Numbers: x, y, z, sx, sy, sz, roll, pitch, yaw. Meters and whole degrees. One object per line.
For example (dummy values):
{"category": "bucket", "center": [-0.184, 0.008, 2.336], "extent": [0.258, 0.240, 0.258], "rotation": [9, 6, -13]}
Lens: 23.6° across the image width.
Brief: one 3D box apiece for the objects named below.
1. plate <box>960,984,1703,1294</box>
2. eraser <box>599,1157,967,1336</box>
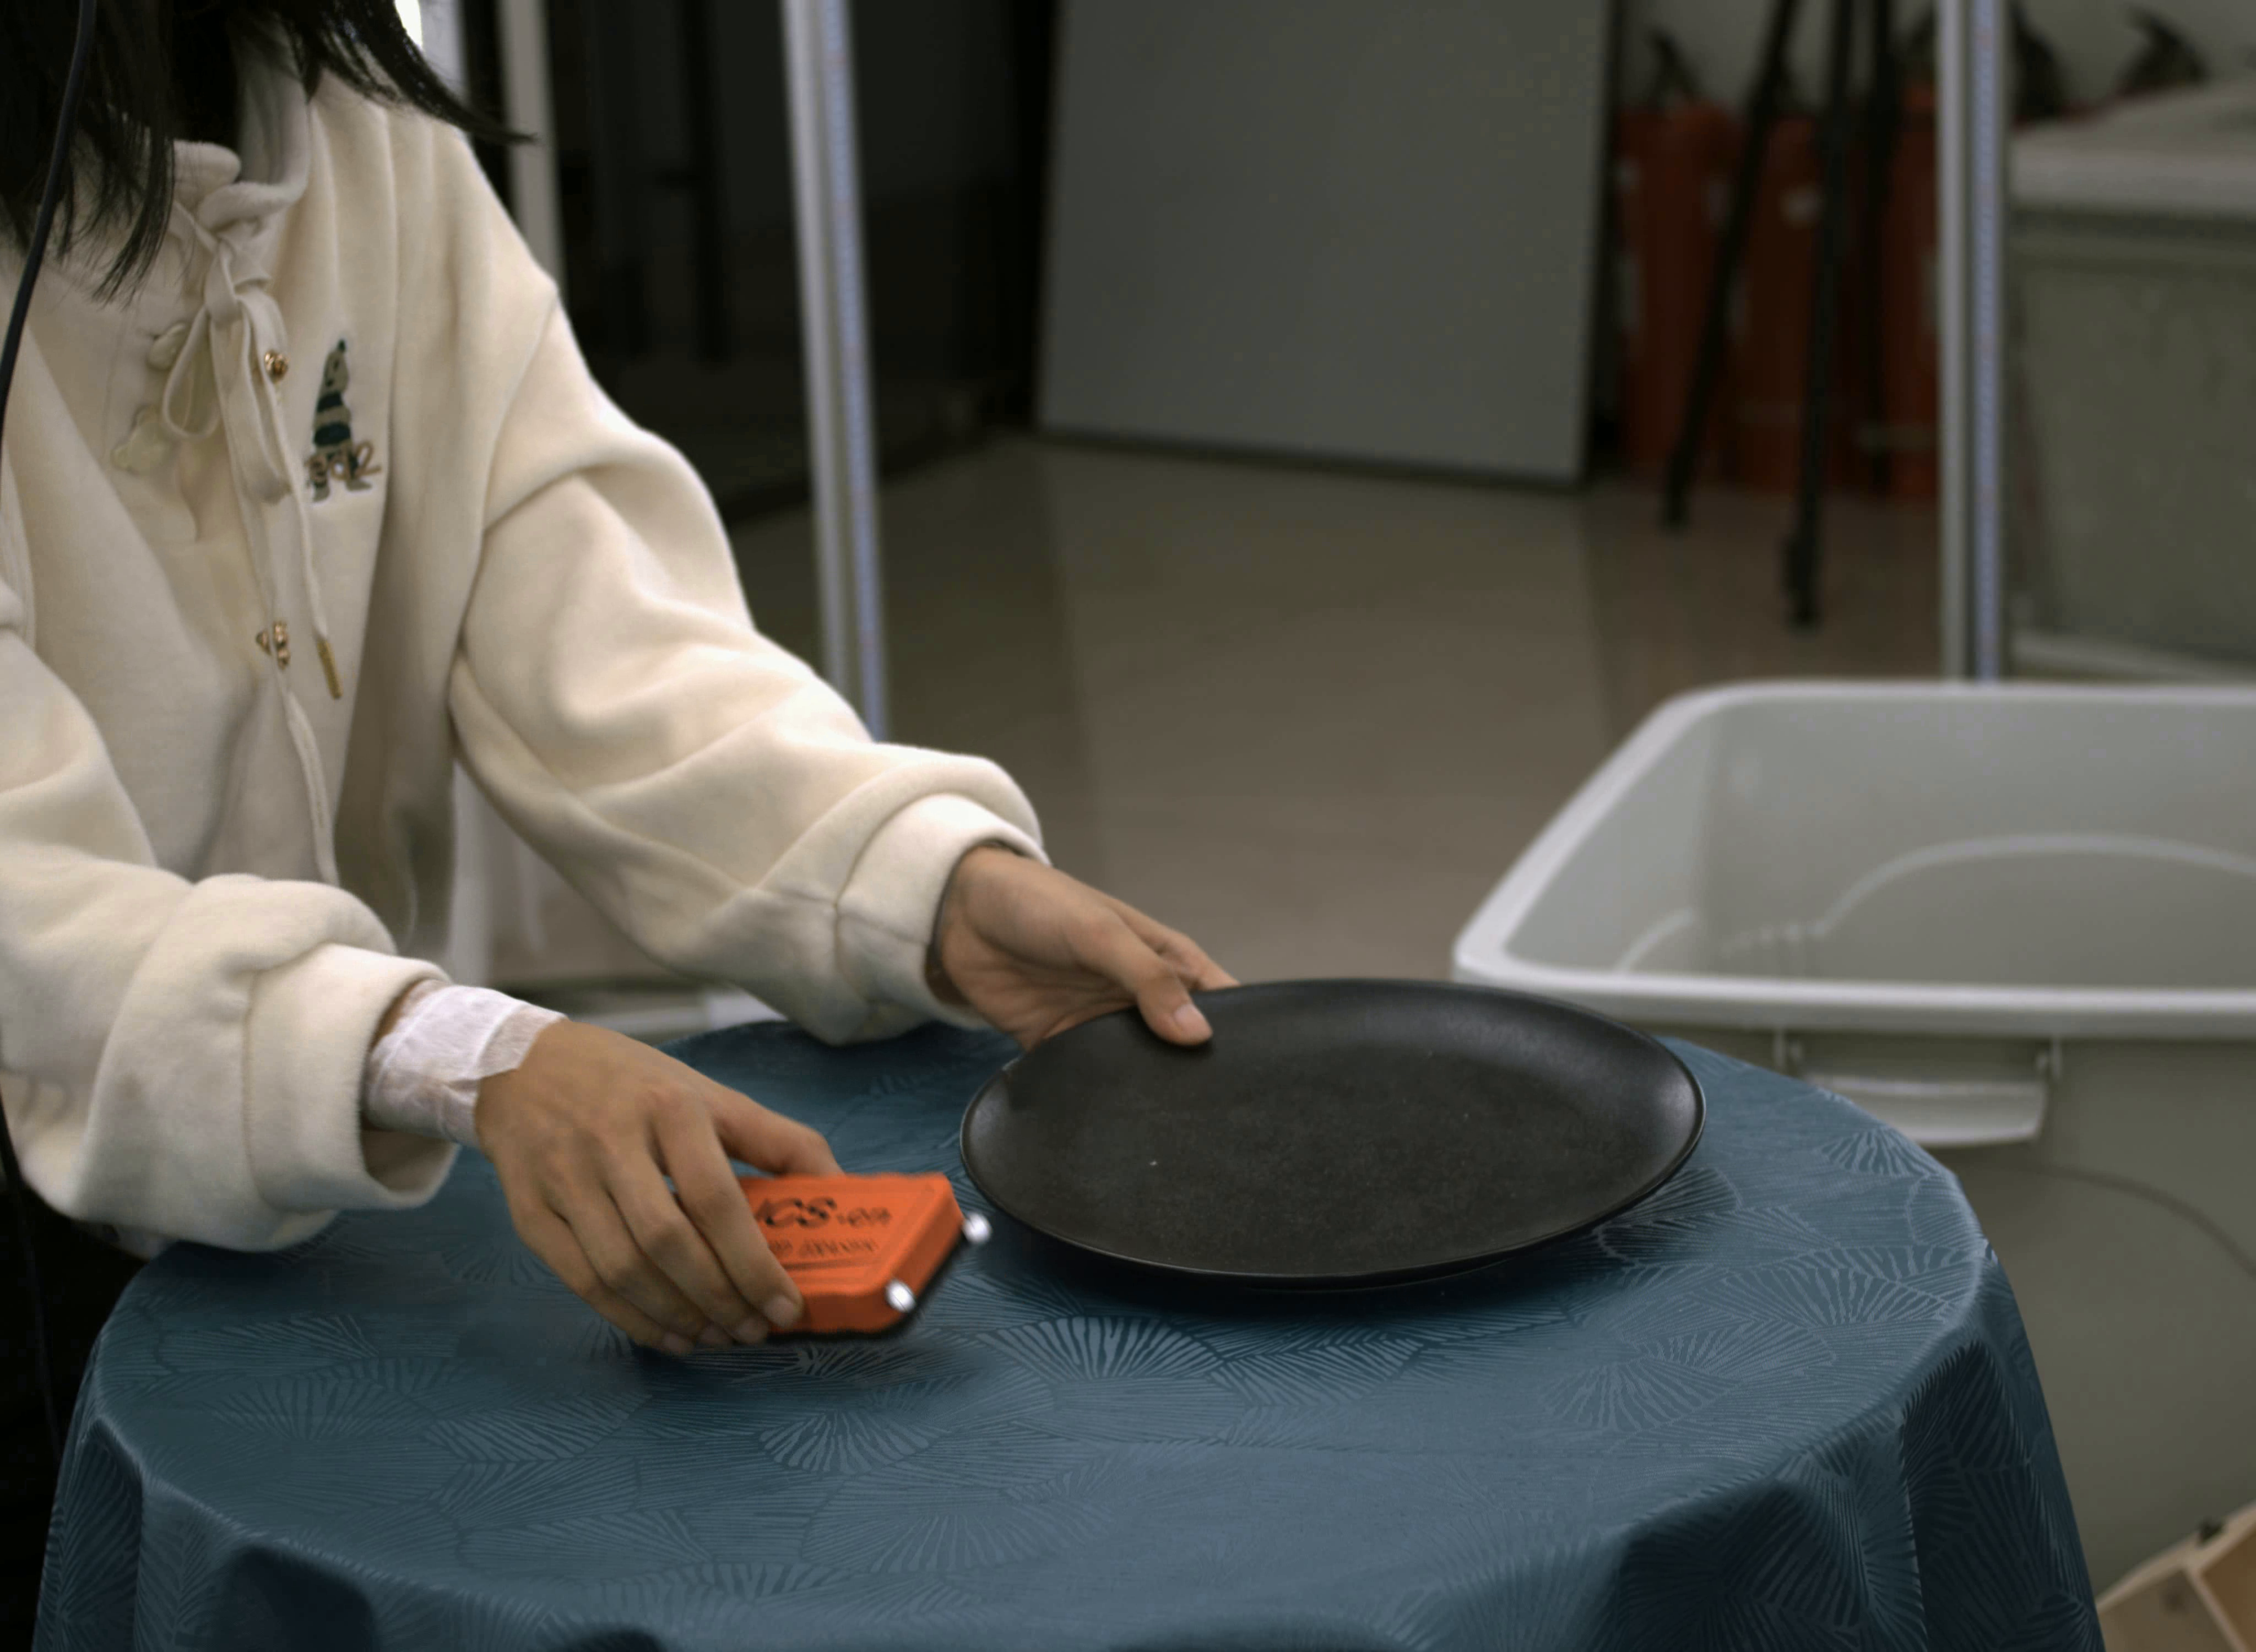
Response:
{"category": "plate", "center": [0.066, 0.104, 1.739], "extent": [0.241, 0.023, 0.245], "rotation": [-4, 19, 1]}
{"category": "eraser", "center": [-0.104, 0.128, 1.642], "extent": [0.108, 0.023, 0.058], "rotation": [-4, 36, 34]}
